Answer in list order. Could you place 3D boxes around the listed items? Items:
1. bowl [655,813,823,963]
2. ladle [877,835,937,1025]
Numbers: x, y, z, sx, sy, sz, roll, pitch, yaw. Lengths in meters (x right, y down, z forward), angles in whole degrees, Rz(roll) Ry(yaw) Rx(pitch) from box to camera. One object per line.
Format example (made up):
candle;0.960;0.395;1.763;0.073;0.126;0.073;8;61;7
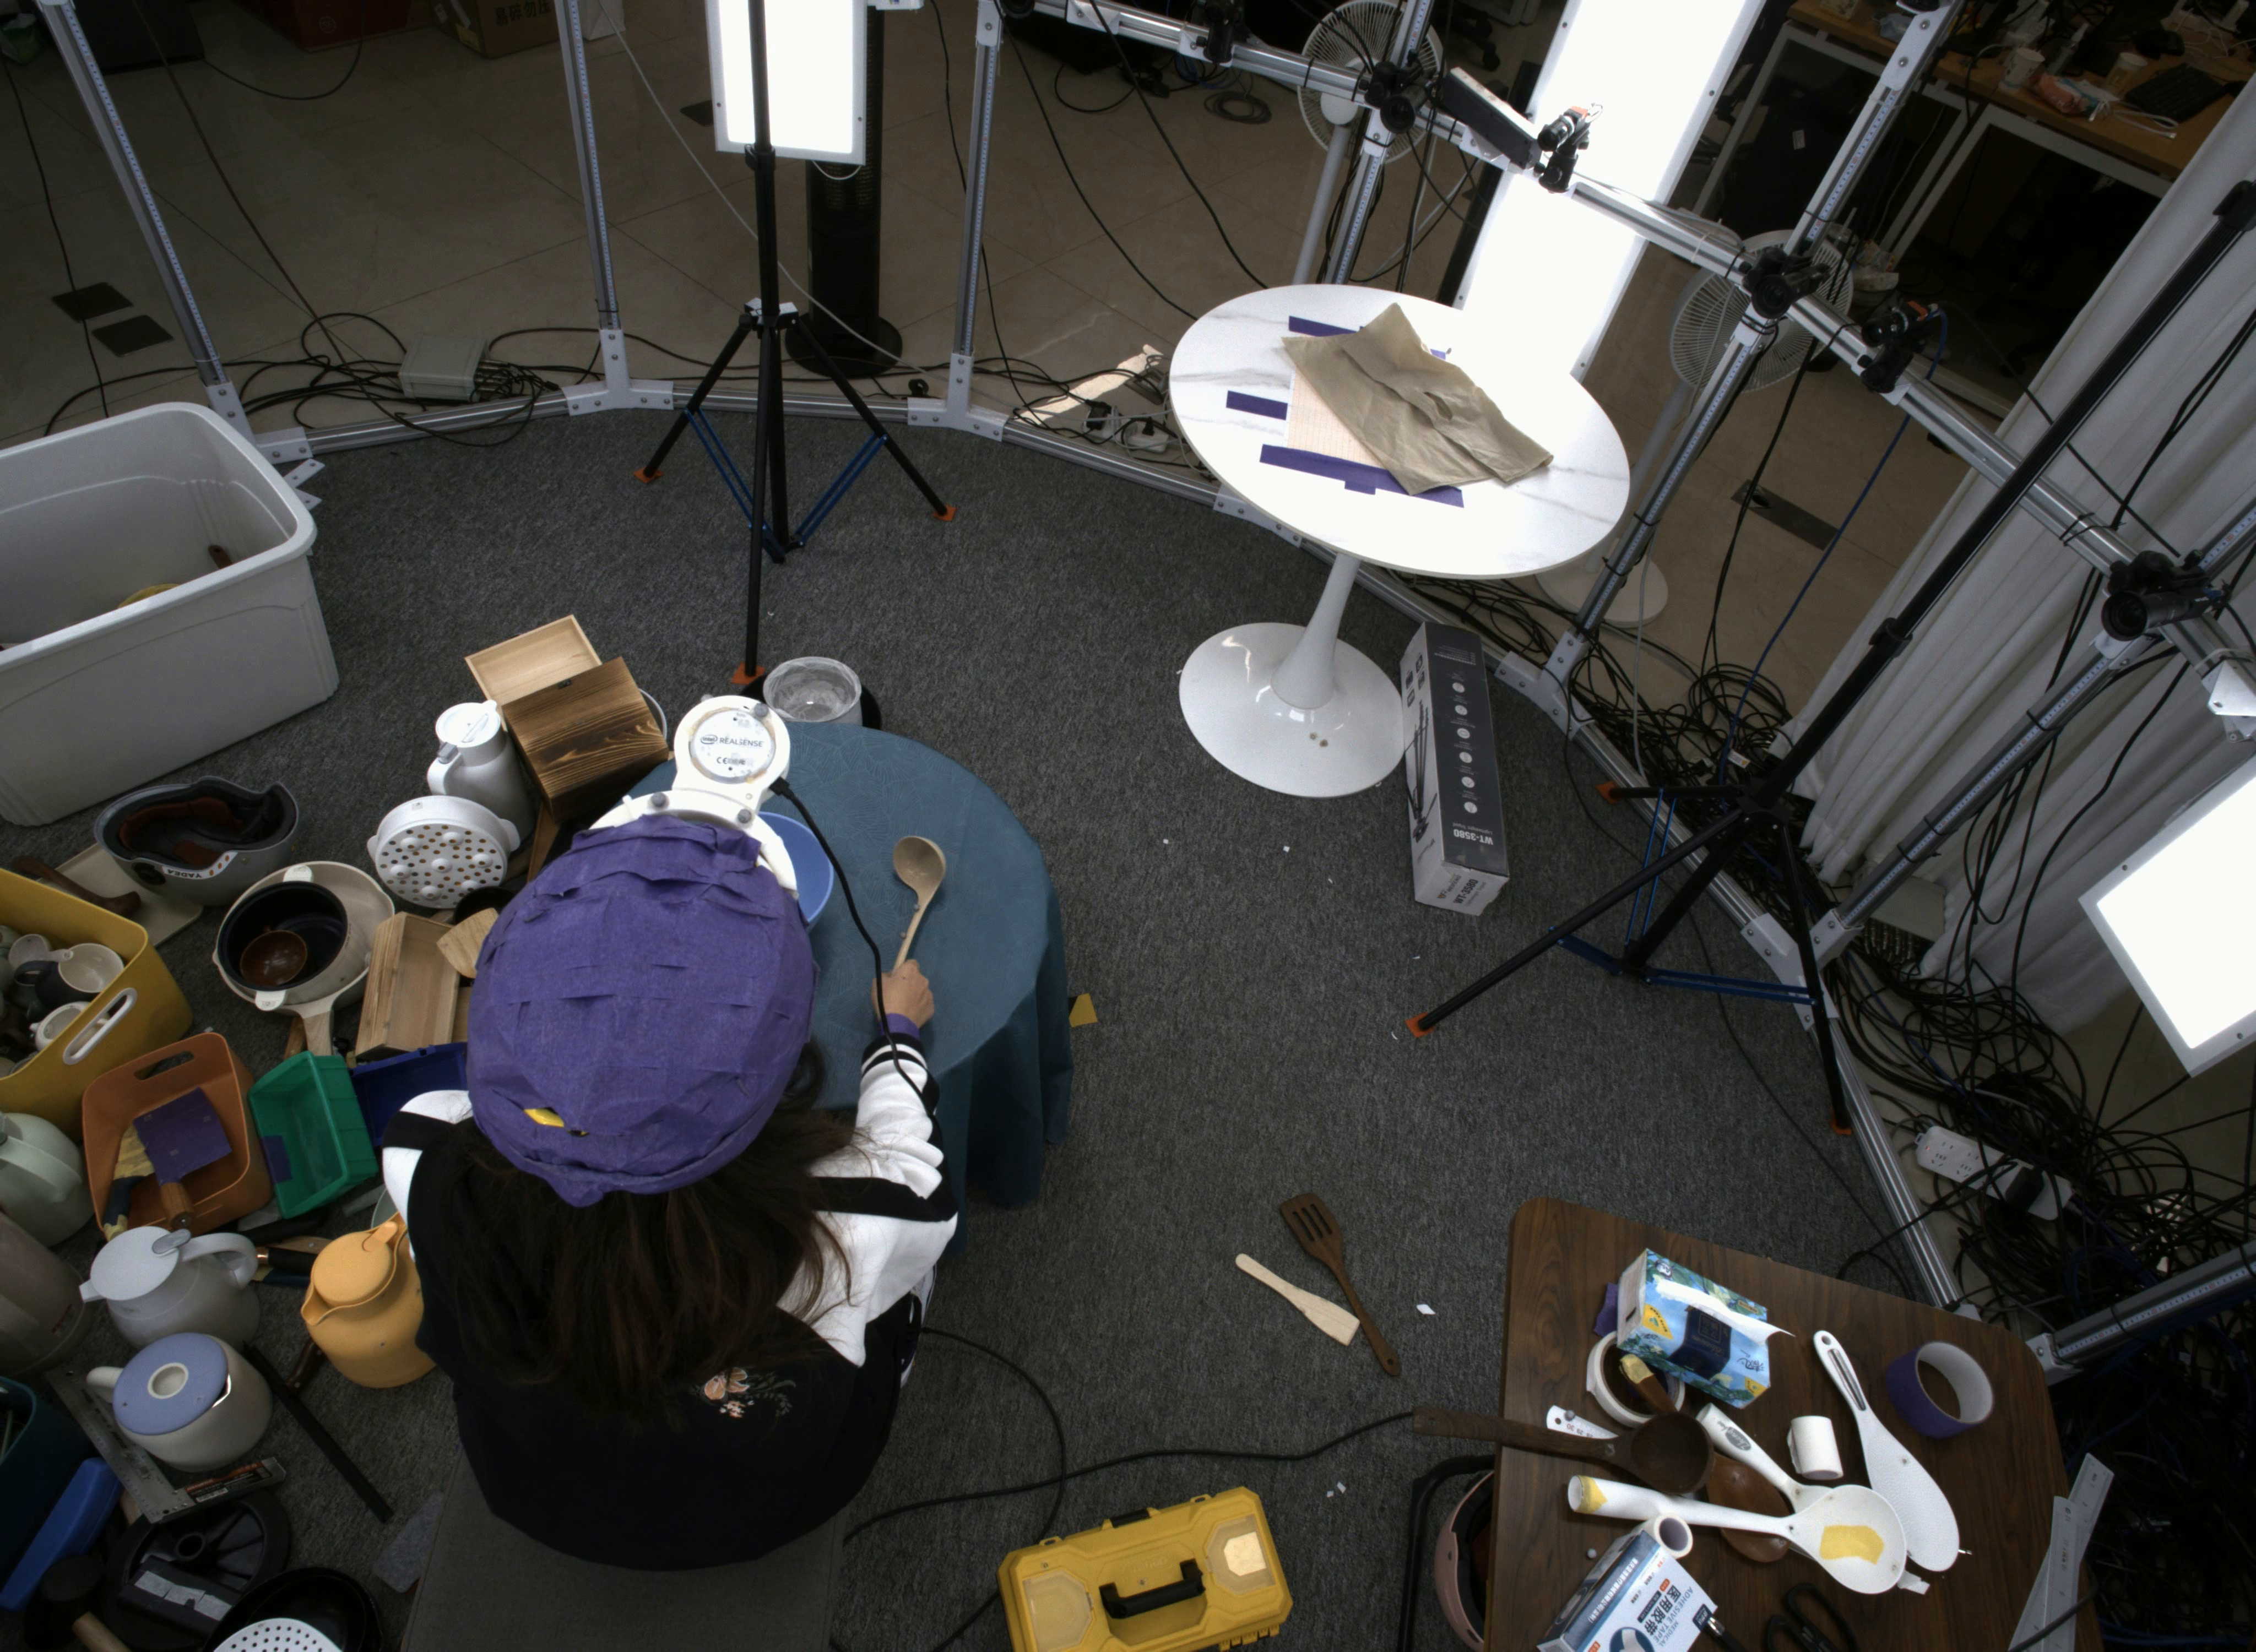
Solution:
bowl;-0.473;0.090;1.582;0.196;0.097;0.193;9;52;-10
ladle;-0.292;0.118;1.610;0.070;0.076;0.250;-10;45;19
